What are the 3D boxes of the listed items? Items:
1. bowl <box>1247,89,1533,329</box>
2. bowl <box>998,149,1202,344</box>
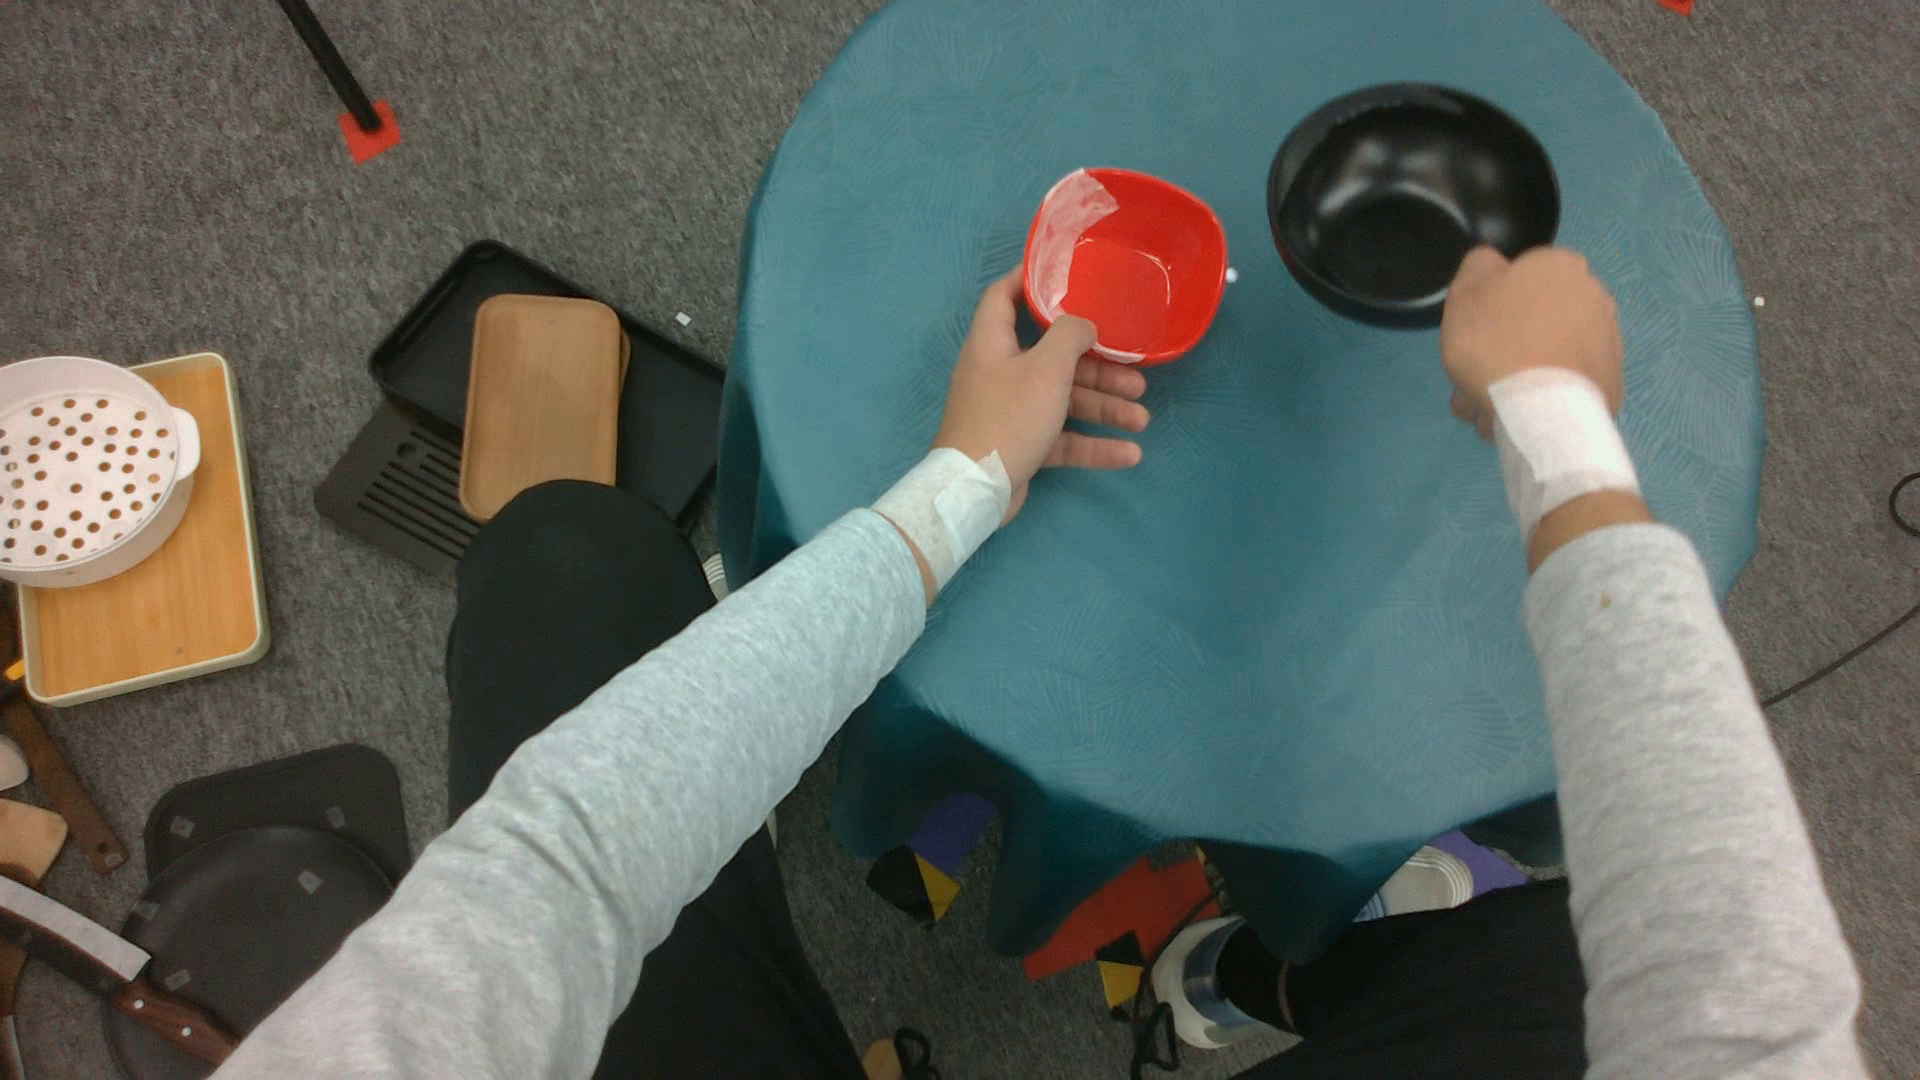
[{"bbox_3d":[0.215,-0.161,0.705,0.140,0.049,0.140,-2,65,4],"label":"bowl"},{"bbox_3d":[0.073,-0.154,0.766,0.119,0.051,0.119,3,71,-7],"label":"bowl"}]
